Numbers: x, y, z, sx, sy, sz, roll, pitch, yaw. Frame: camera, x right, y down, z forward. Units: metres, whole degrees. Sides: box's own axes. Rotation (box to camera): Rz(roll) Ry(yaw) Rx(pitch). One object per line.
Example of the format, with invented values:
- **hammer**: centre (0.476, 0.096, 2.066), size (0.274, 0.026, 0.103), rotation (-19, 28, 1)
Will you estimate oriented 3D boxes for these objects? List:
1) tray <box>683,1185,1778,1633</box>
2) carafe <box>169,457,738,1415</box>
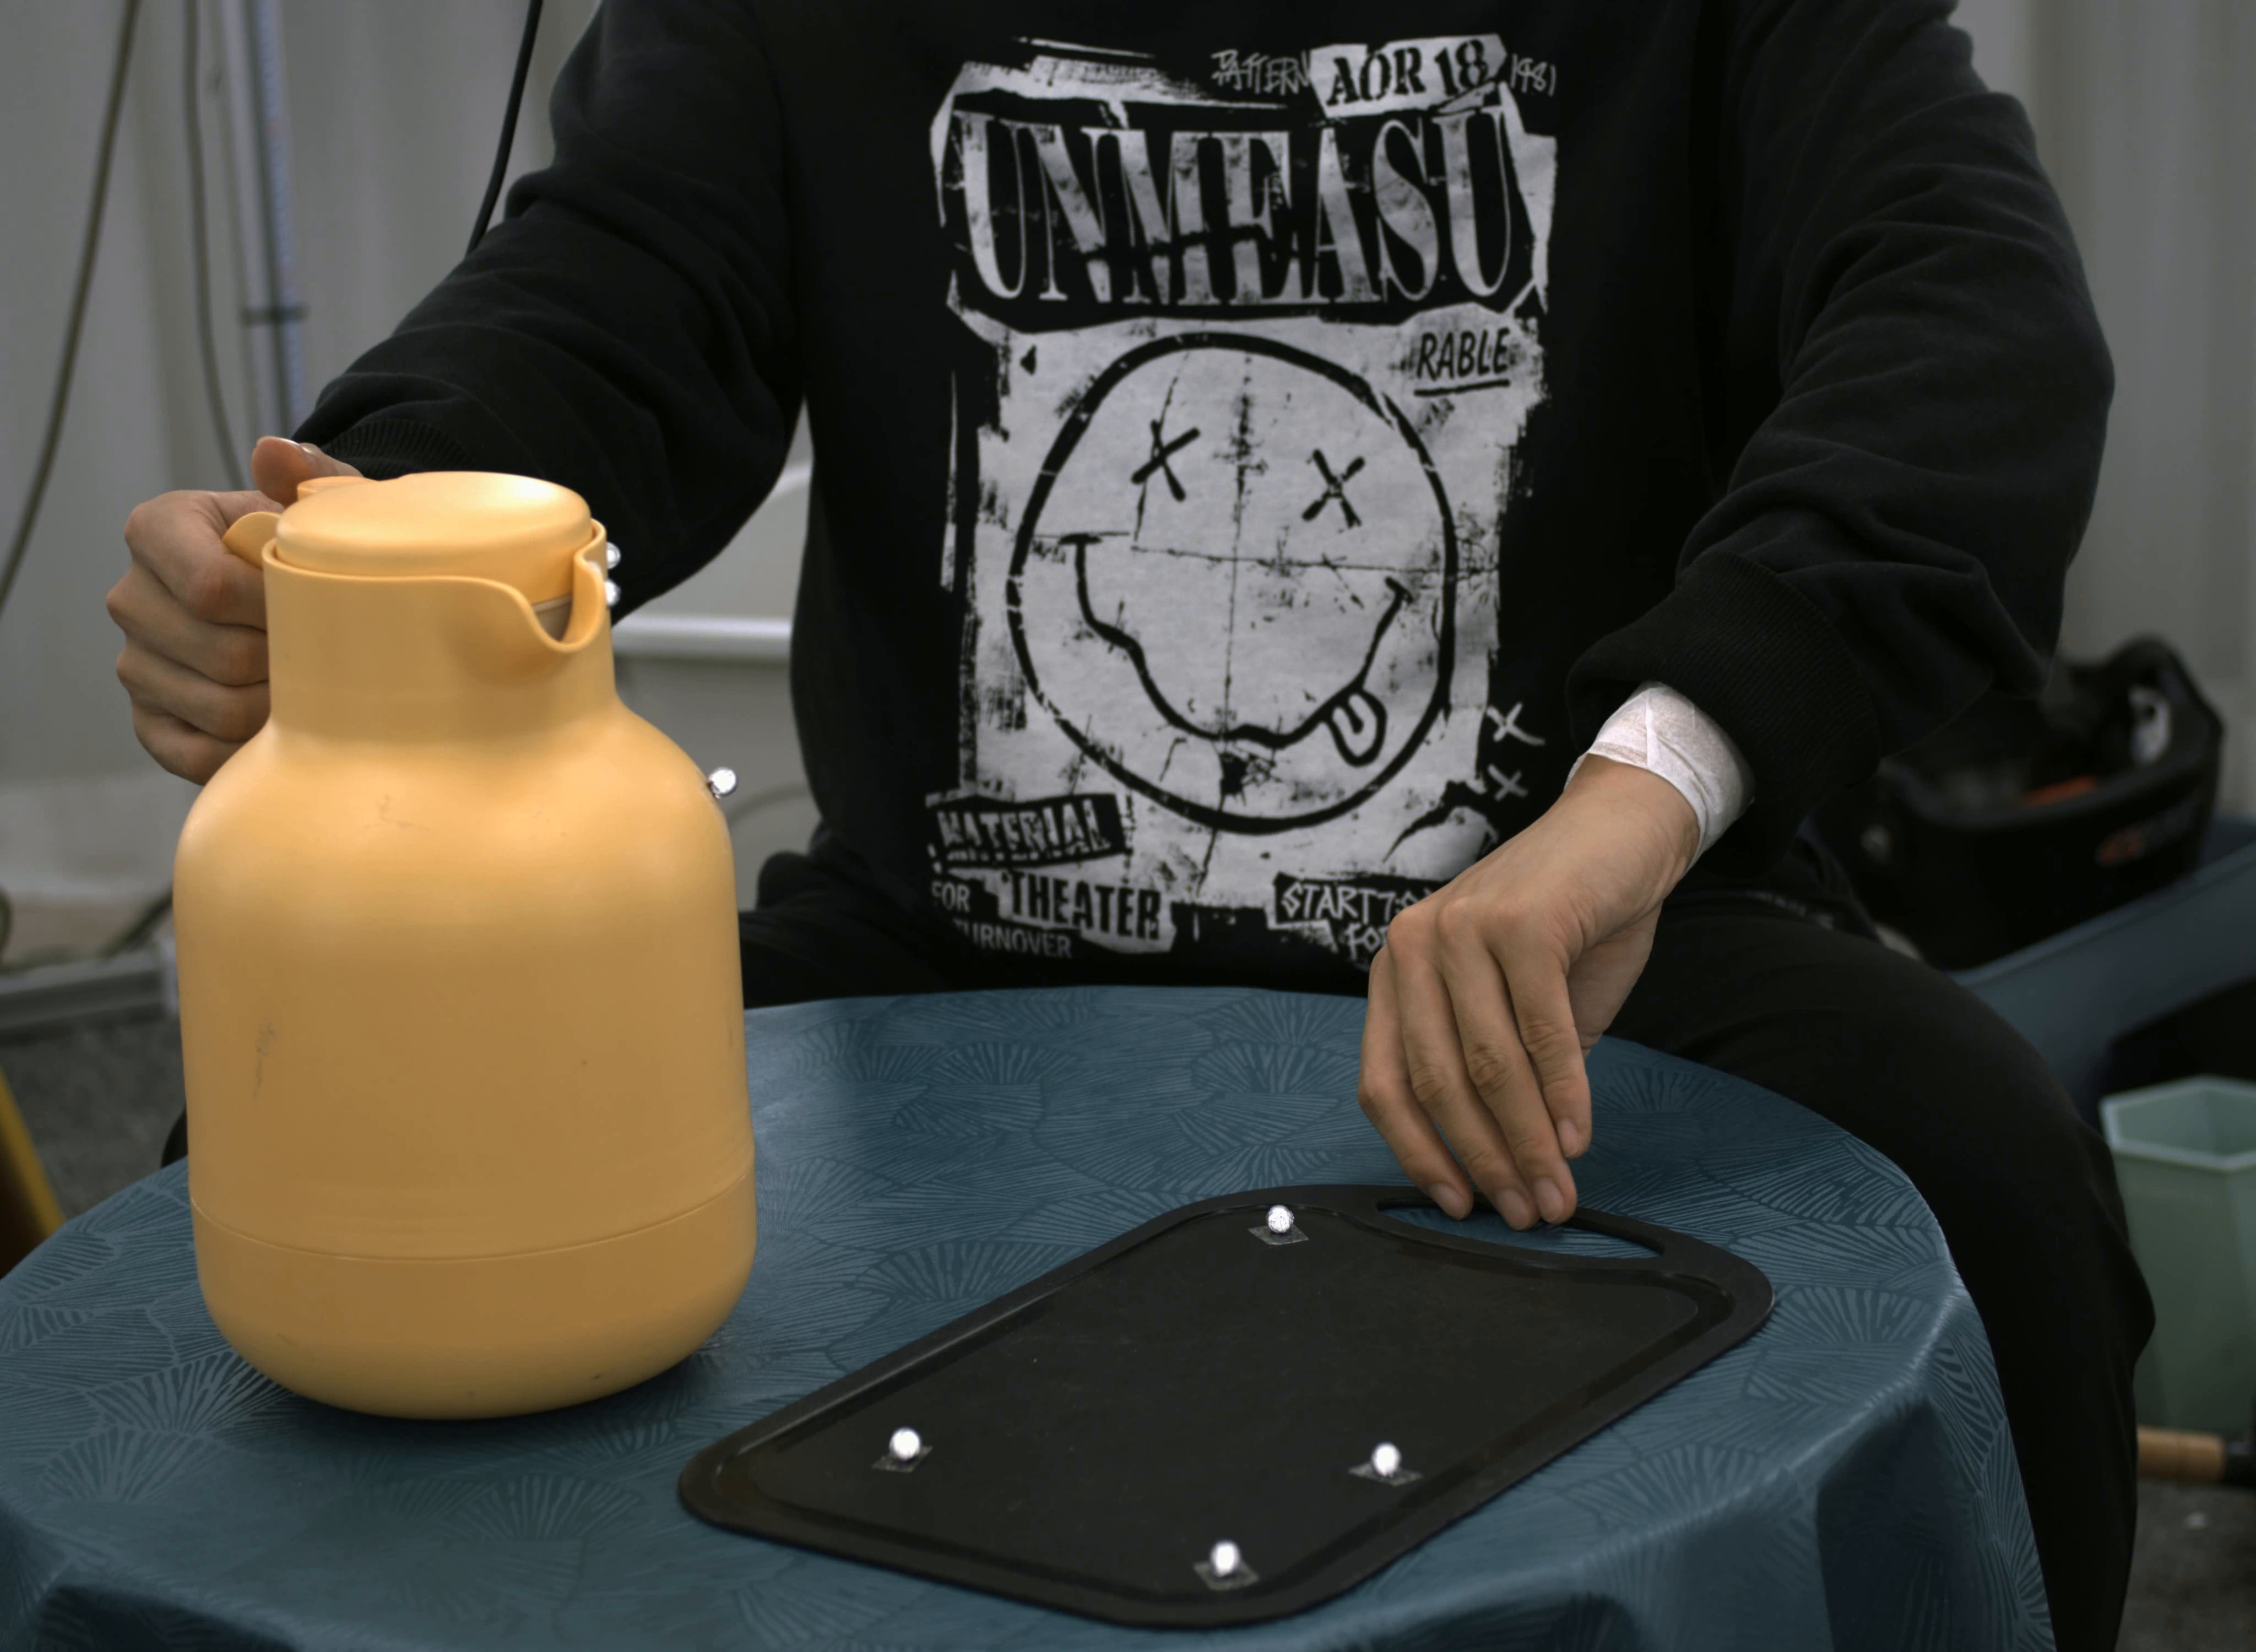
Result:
- **tray**: centre (0.038, 0.154, 1.544), size (0.212, 0.010, 0.325), rotation (9, 19, 36)
- **carafe**: centre (-0.203, 0.023, 1.584), size (0.163, 0.259, 0.204), rotation (-8, 17, -33)
